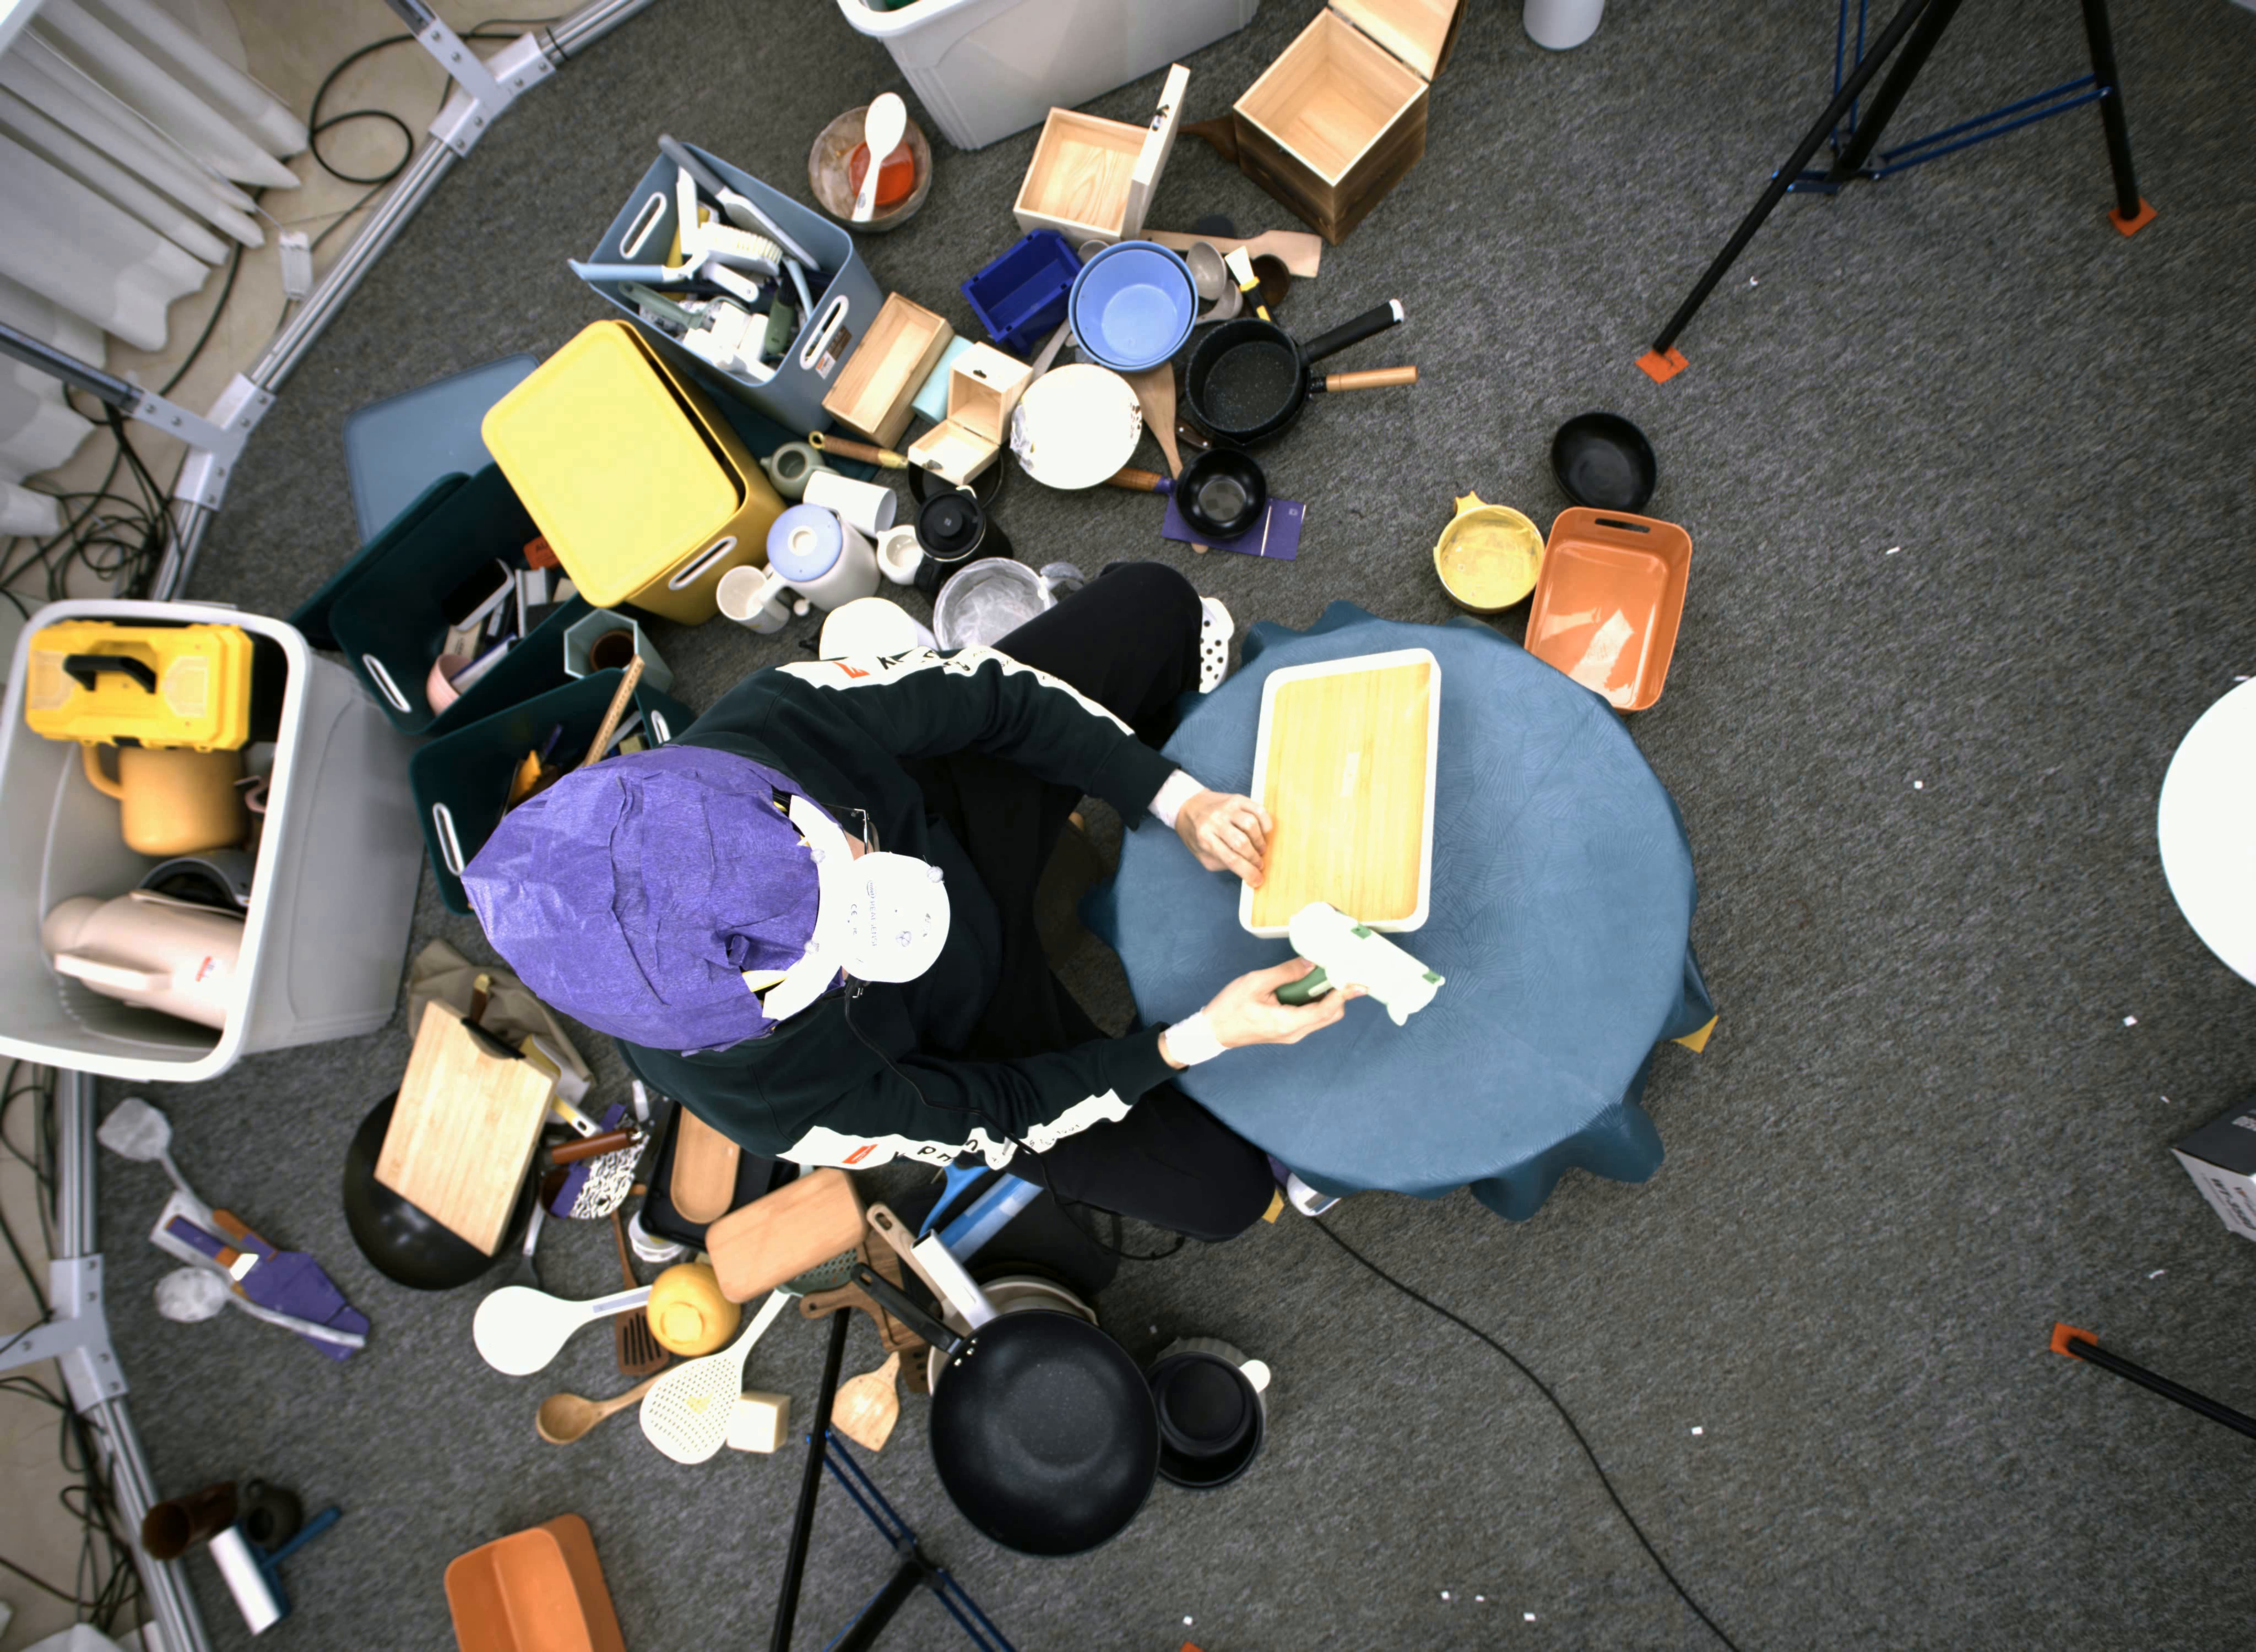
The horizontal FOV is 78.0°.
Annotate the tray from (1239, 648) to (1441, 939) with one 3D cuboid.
[{"bbox_3d":[0.214,-0.034,1.385,0.193,0.027,0.295,-5,66,31],"label":"tray"}]

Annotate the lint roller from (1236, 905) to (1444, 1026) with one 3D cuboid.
[{"bbox_3d":[0.186,0.162,1.334,0.186,0.200,0.080,-35,50,24],"label":"lint roller"}]
